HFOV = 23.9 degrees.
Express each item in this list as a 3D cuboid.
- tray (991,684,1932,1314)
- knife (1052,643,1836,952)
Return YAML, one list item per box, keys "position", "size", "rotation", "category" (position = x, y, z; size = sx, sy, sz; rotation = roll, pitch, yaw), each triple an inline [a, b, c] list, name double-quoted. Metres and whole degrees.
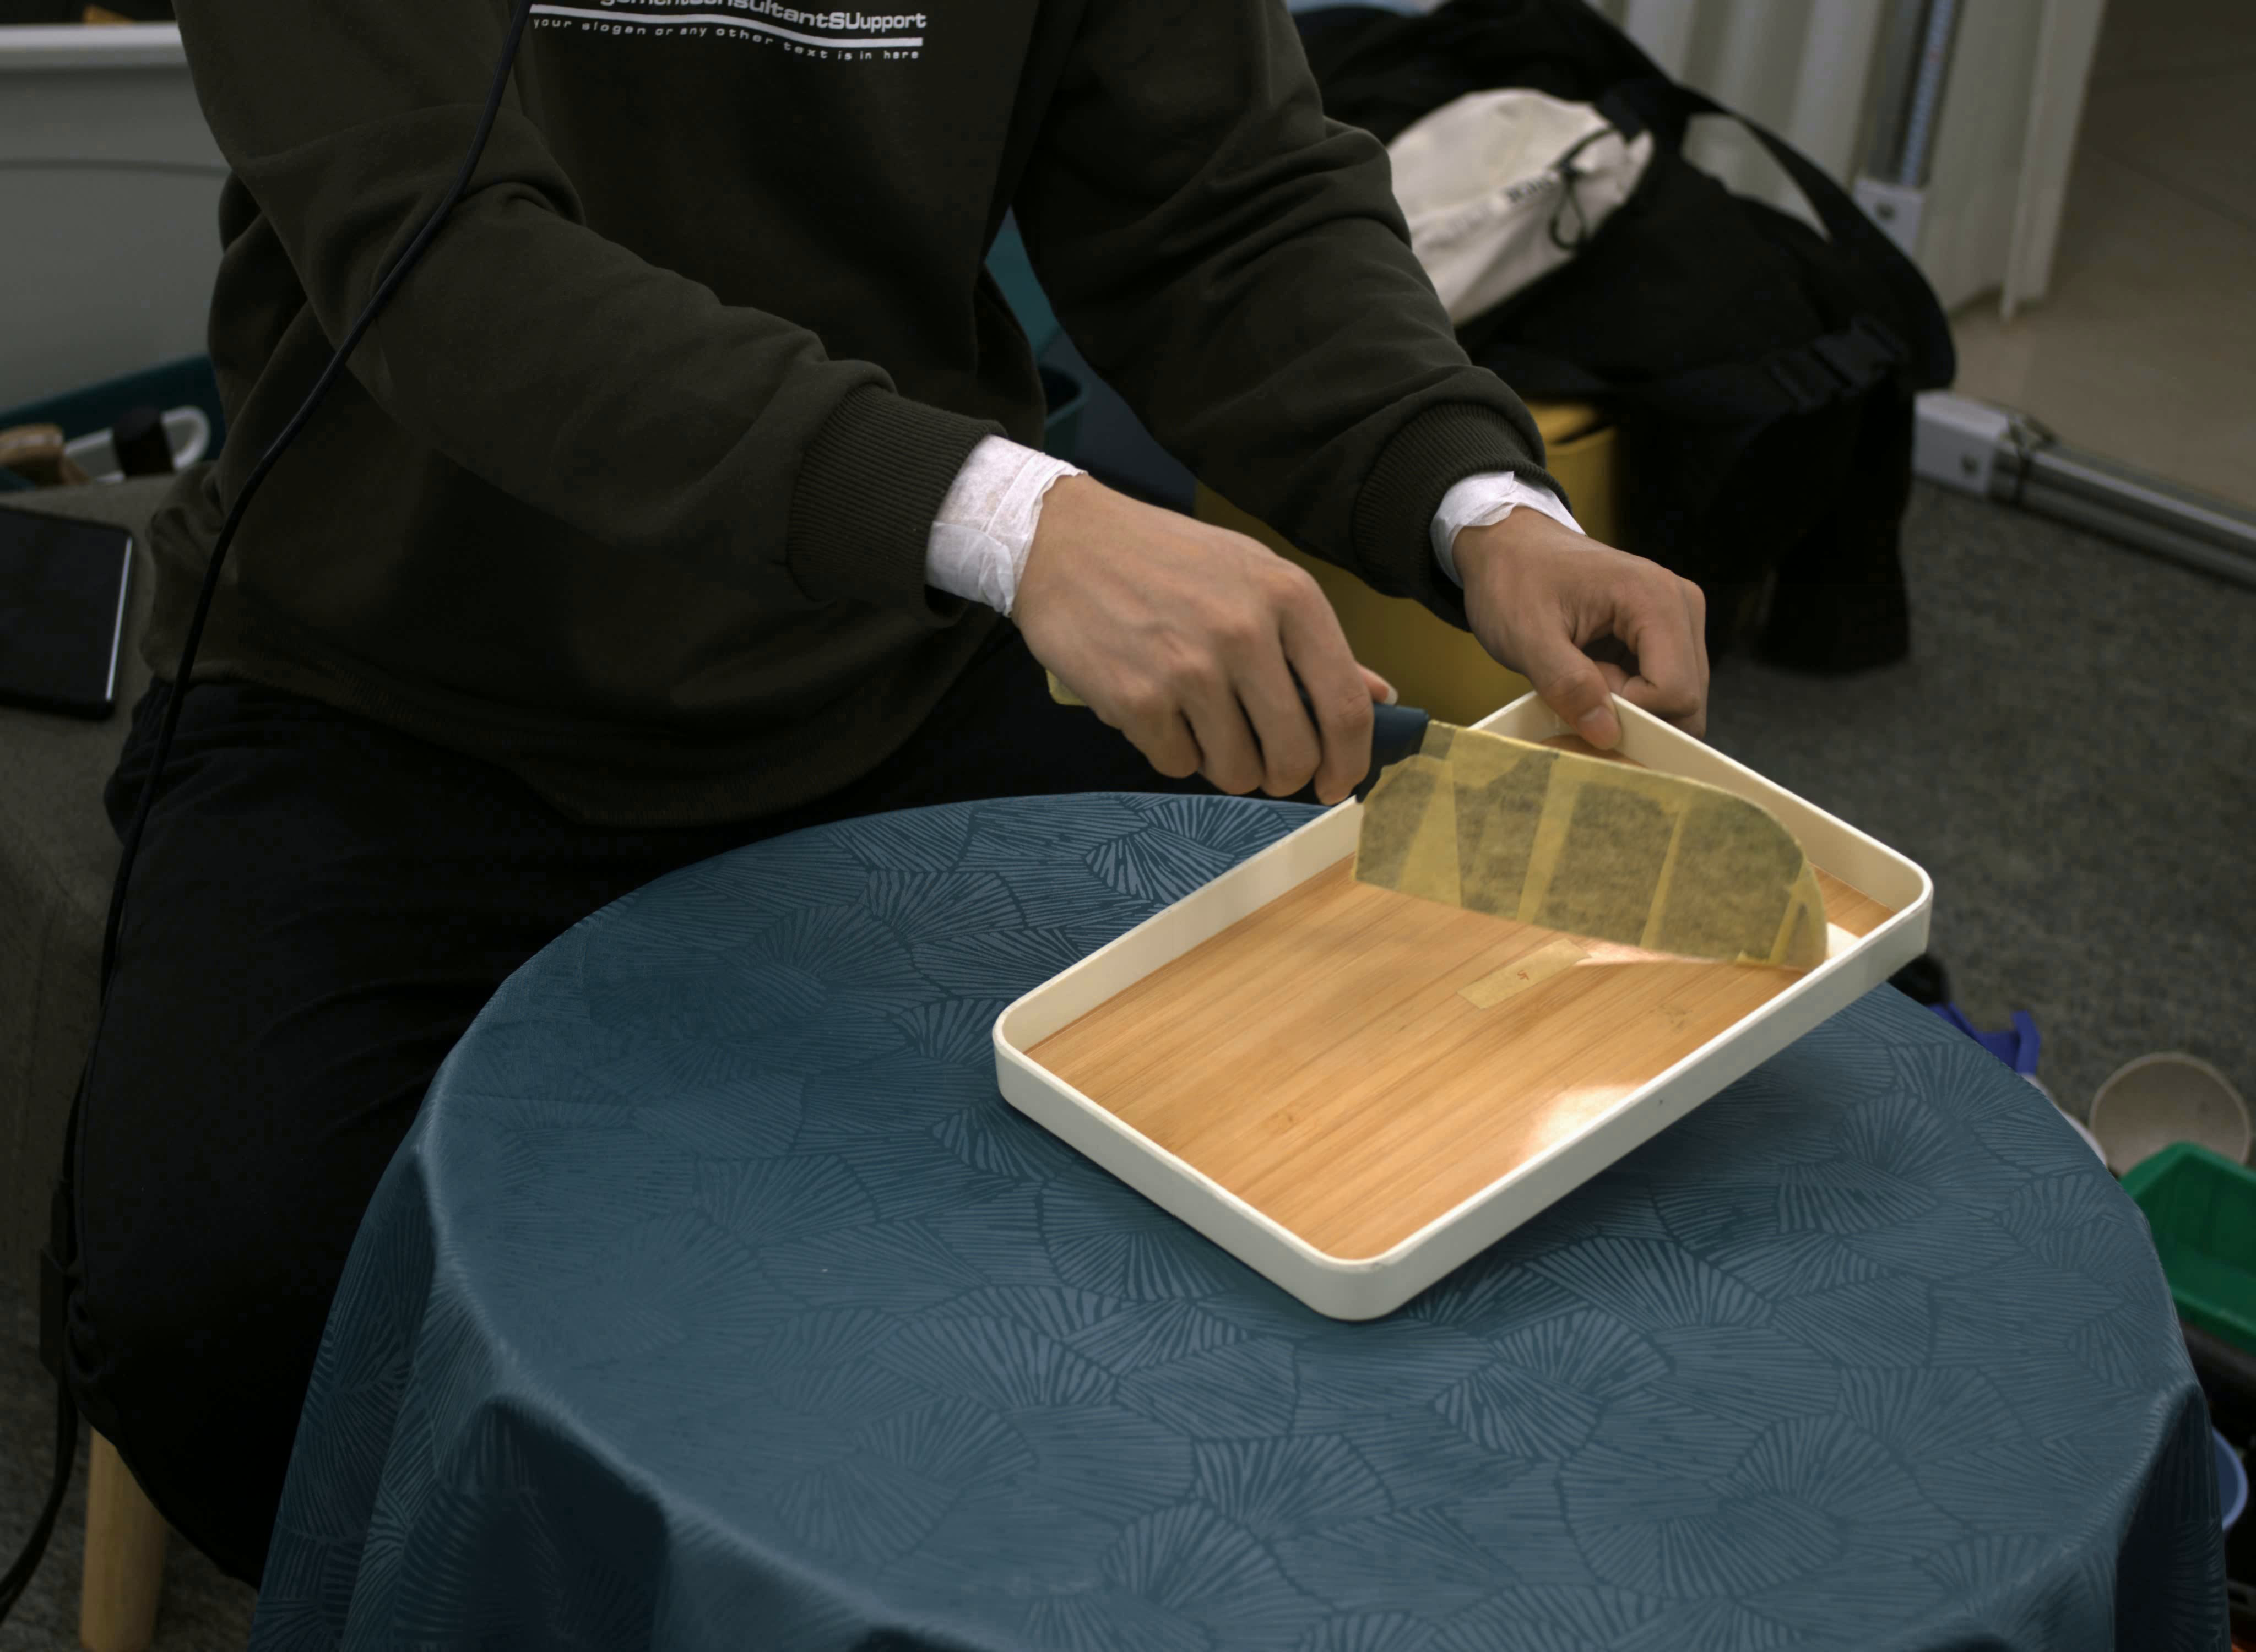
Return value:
- position: [0.118, 0.054, 1.865]
  size: [0.299, 0.027, 0.193]
  rotation: [-30, 43, -31]
  category: "tray"
- position: [0.110, -0.010, 1.870]
  size: [0.289, 0.081, 0.027]
  rotation: [16, 30, 2]
  category: "knife"
